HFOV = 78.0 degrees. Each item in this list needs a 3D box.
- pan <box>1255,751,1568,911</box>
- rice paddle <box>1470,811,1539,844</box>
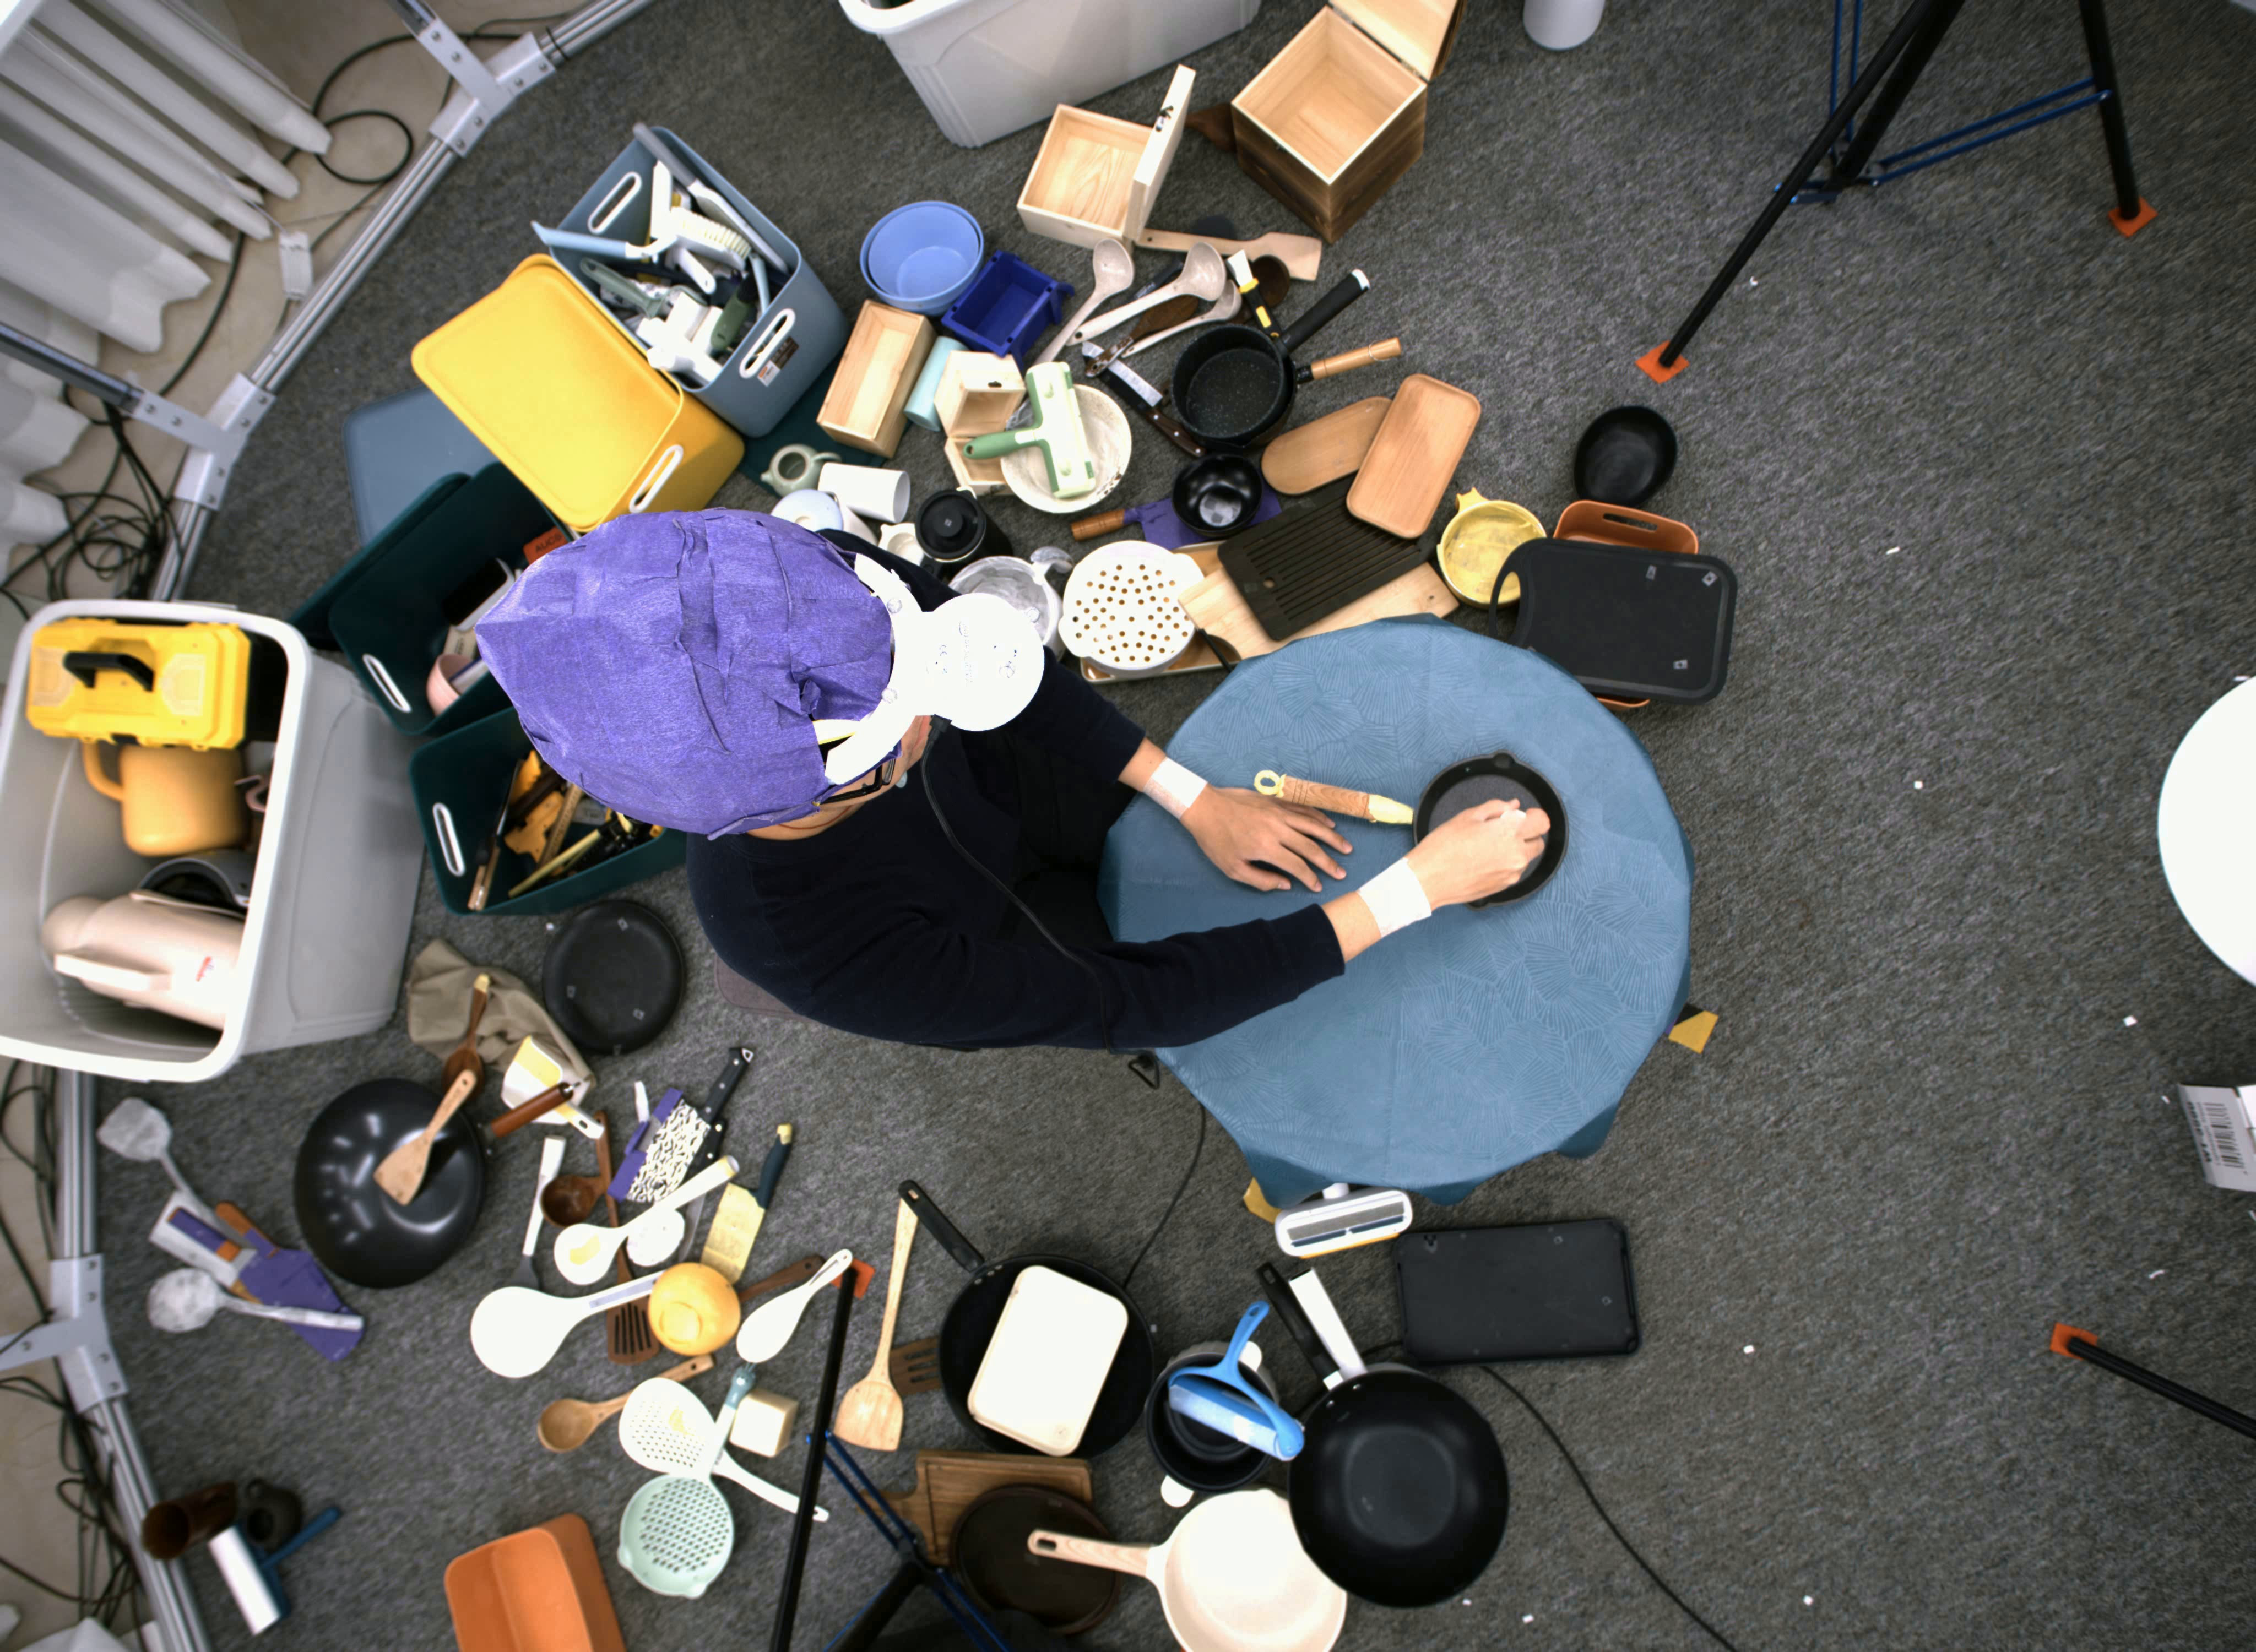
[{"bbox_3d":[0.292,-0.016,1.435,0.324,0.049,0.168,13,89,9],"label":"pan"},{"bbox_3d":[0.370,0.001,1.337,0.069,0.204,0.029,-5,88,12],"label":"rice paddle"}]
